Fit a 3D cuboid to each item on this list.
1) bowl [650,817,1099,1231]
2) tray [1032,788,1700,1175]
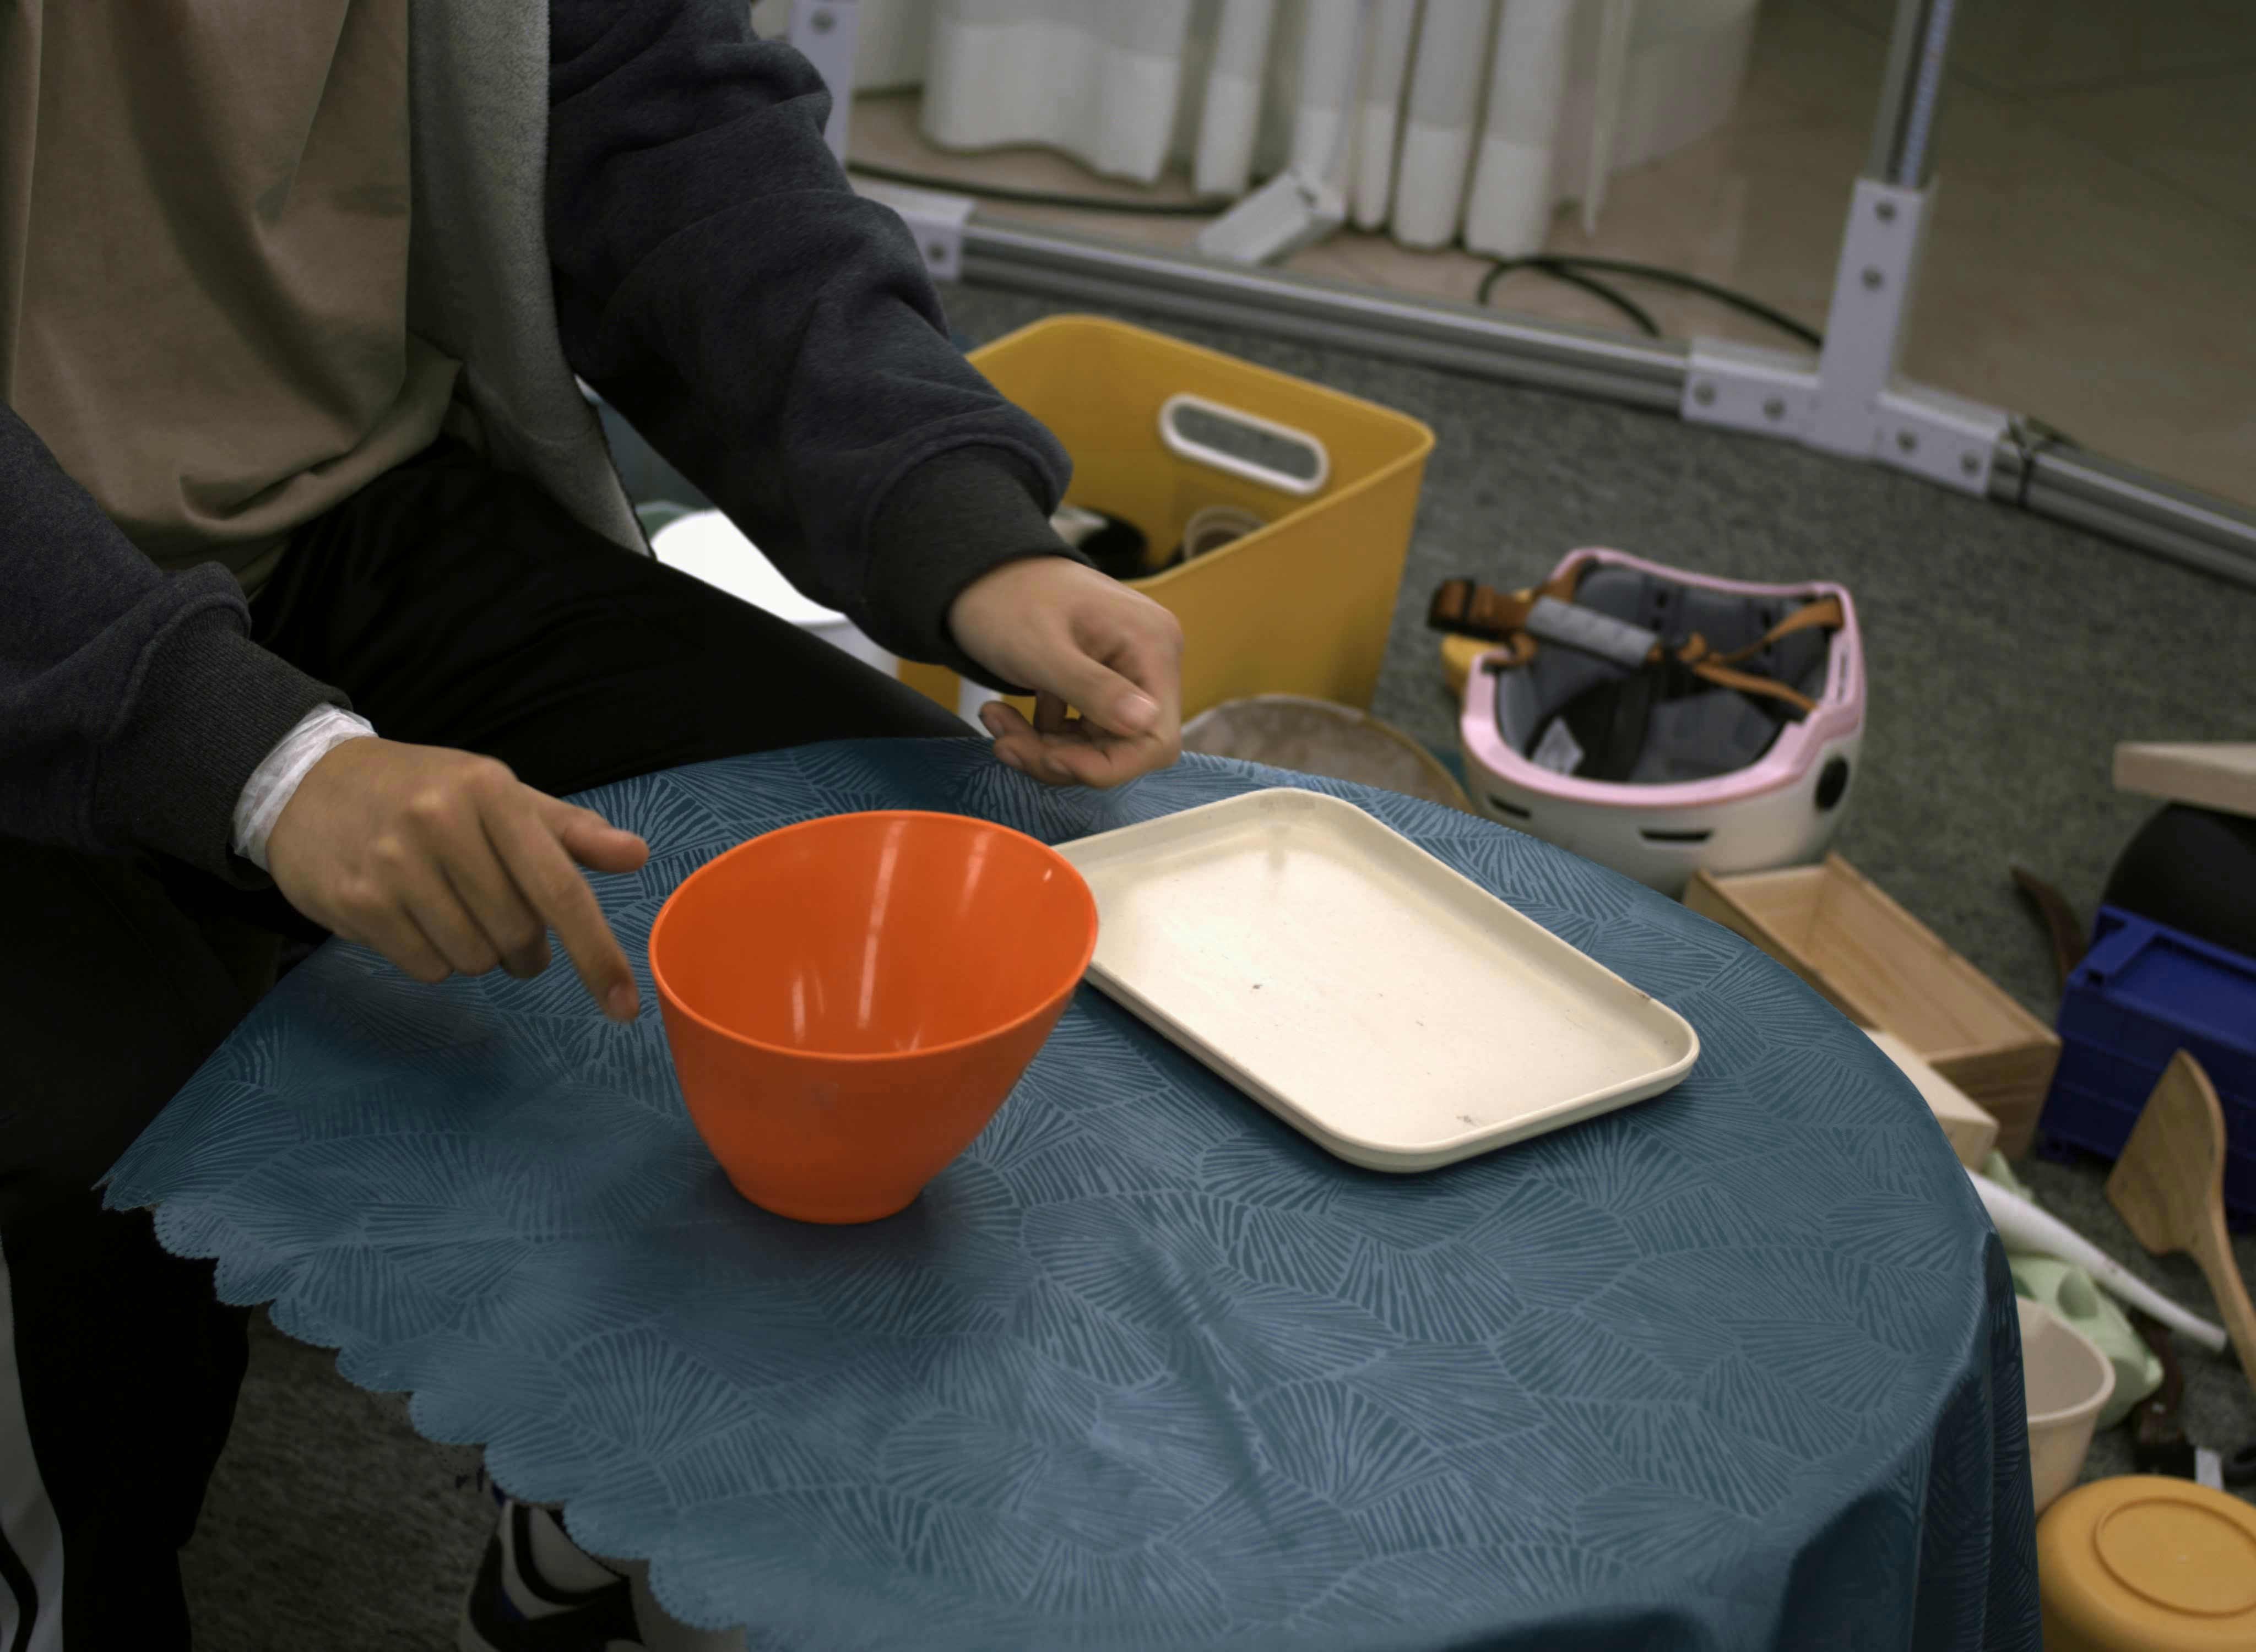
[{"bbox_3d":[-0.087,0.072,1.773,0.147,0.104,0.149,5,27,-3],"label":"bowl"},{"bbox_3d":[0.077,0.055,1.934,0.170,0.017,0.242,-15,34,-35],"label":"tray"}]
